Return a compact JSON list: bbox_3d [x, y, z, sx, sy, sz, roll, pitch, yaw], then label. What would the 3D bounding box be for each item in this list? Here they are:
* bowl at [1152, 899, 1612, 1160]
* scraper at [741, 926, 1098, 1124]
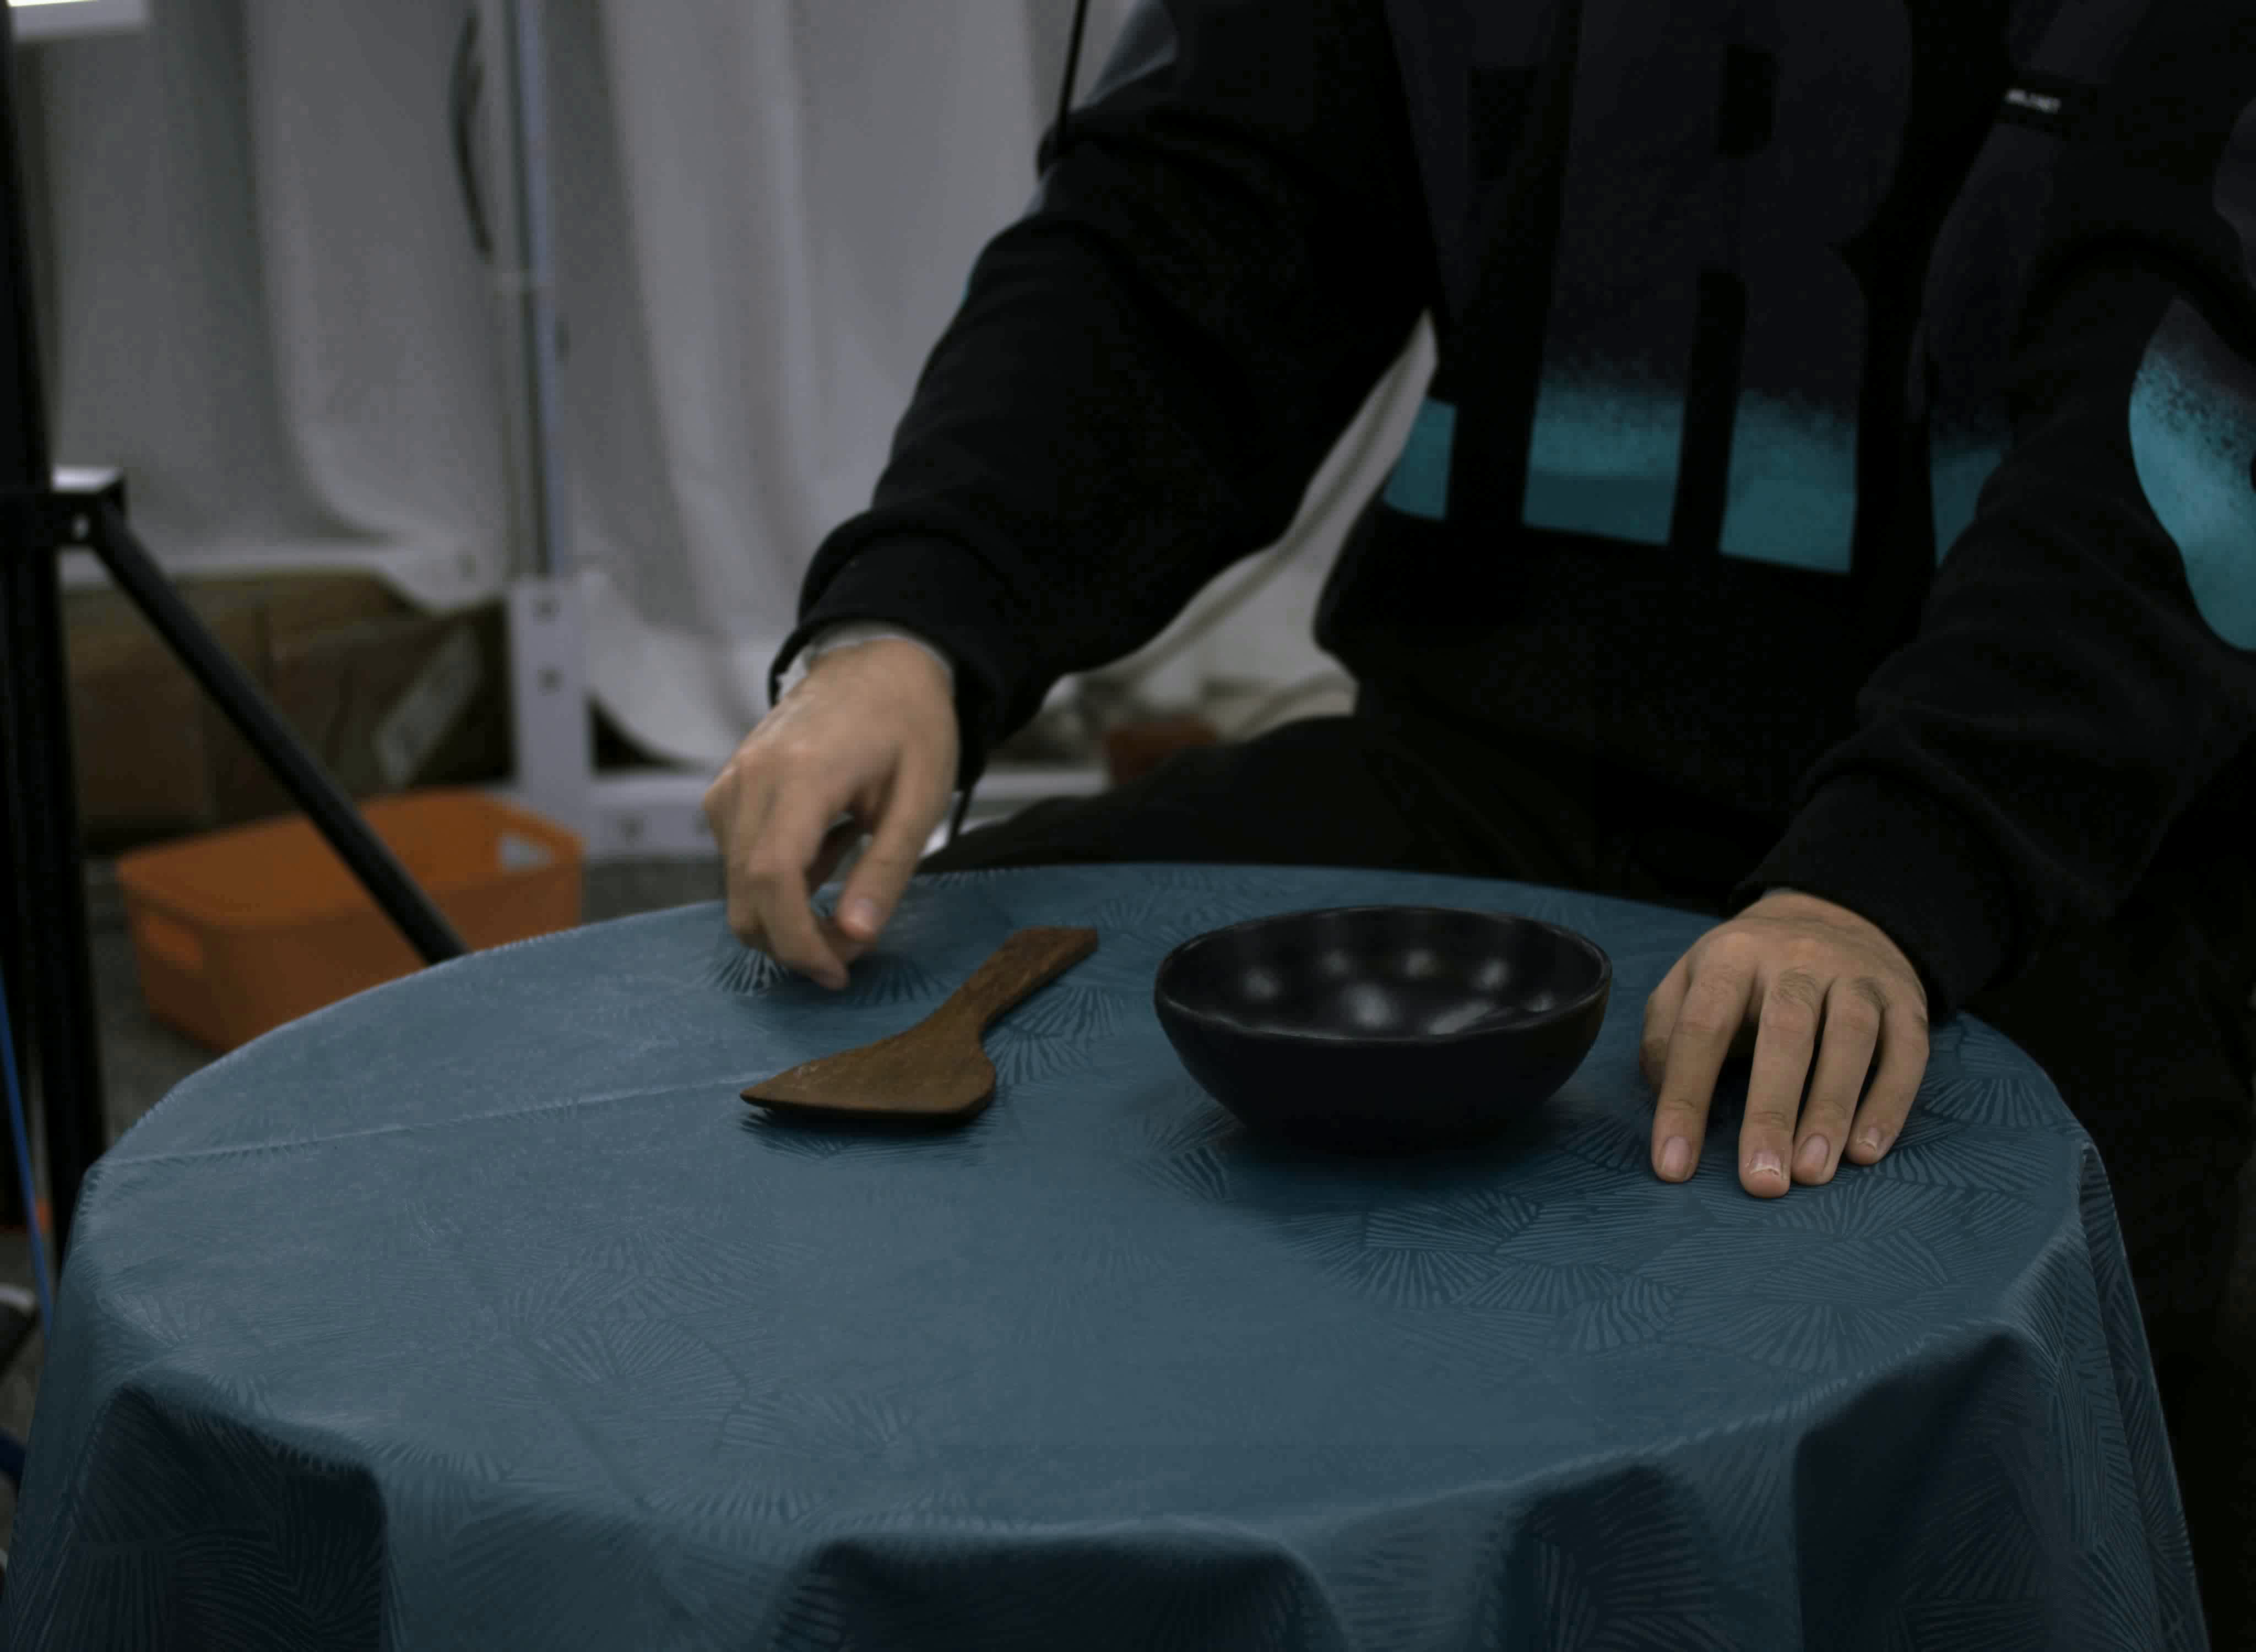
[{"bbox_3d":[0.078,0.066,1.601,0.139,0.050,0.141,-6,16,0],"label":"bowl"},{"bbox_3d":[-0.054,0.063,1.712,0.076,0.011,0.209,4,16,19],"label":"scraper"}]
